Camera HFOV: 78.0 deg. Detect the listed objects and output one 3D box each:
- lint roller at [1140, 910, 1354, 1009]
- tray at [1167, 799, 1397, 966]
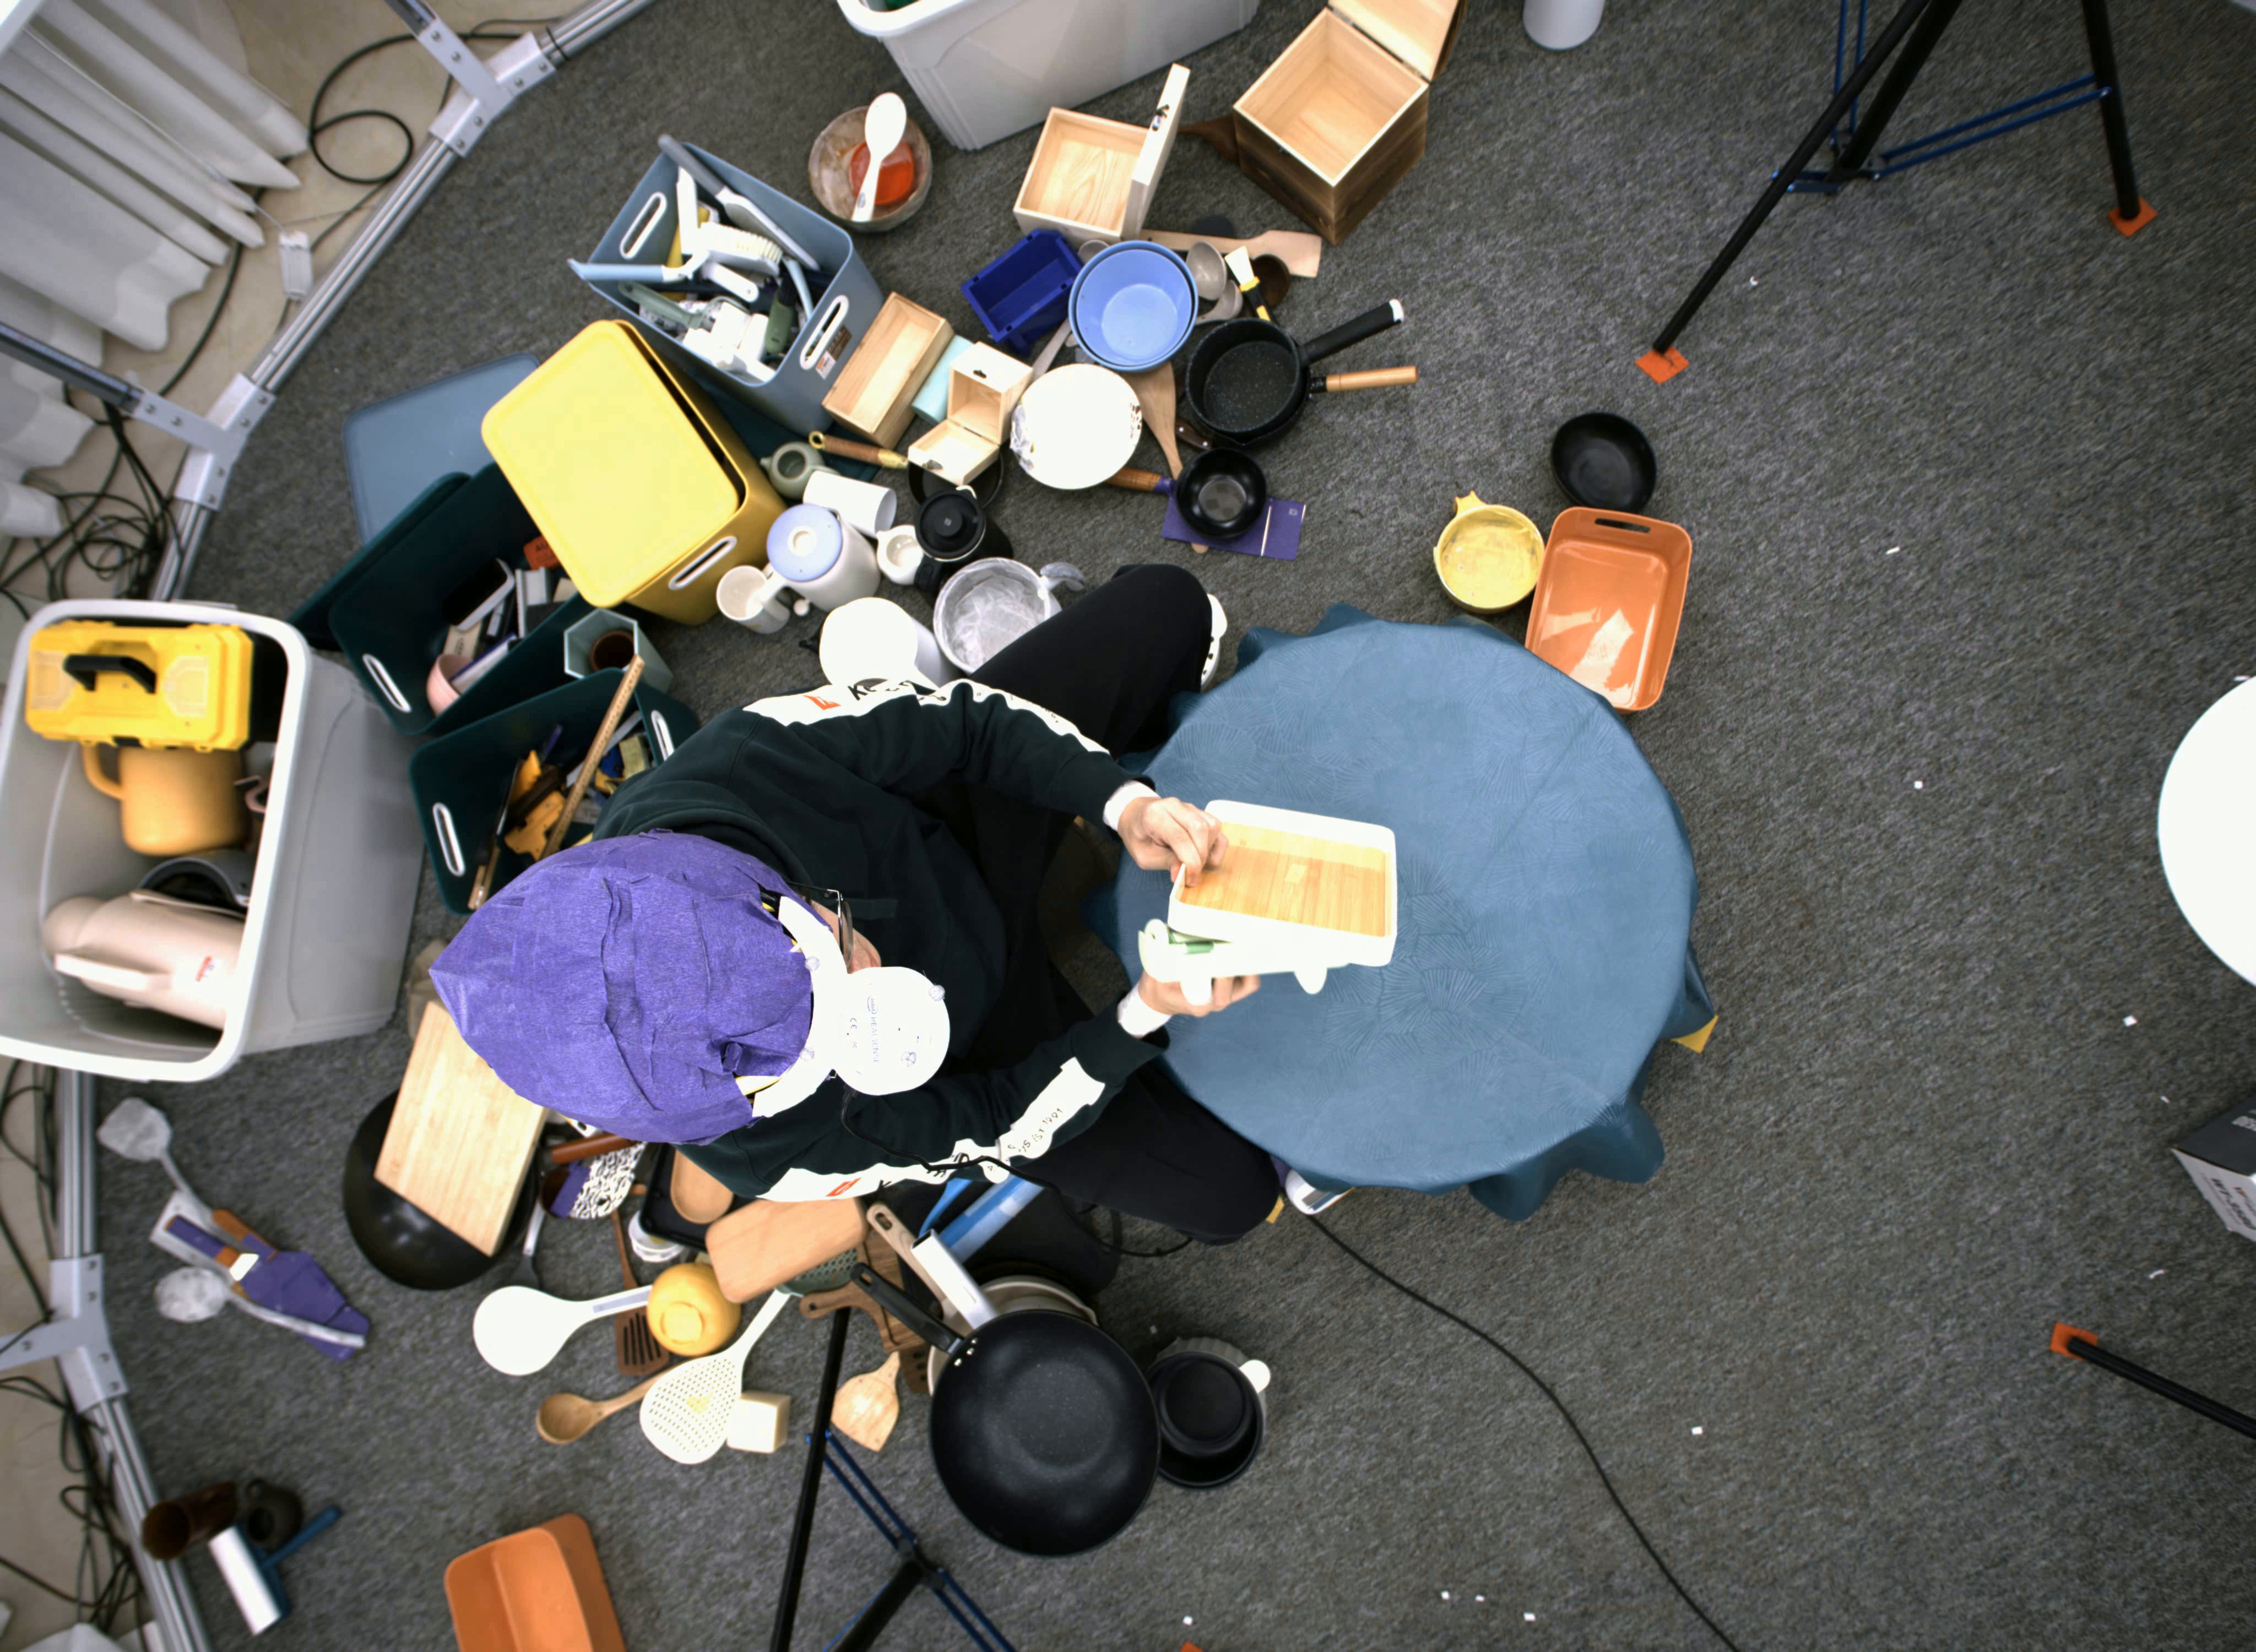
[{"bbox_3d":[0.089,0.129,1.255,0.197,0.187,0.081,-3,73,-24],"label":"lint roller"},{"bbox_3d":[0.148,0.043,1.266,0.192,0.294,0.028,9,110,8],"label":"tray"}]
